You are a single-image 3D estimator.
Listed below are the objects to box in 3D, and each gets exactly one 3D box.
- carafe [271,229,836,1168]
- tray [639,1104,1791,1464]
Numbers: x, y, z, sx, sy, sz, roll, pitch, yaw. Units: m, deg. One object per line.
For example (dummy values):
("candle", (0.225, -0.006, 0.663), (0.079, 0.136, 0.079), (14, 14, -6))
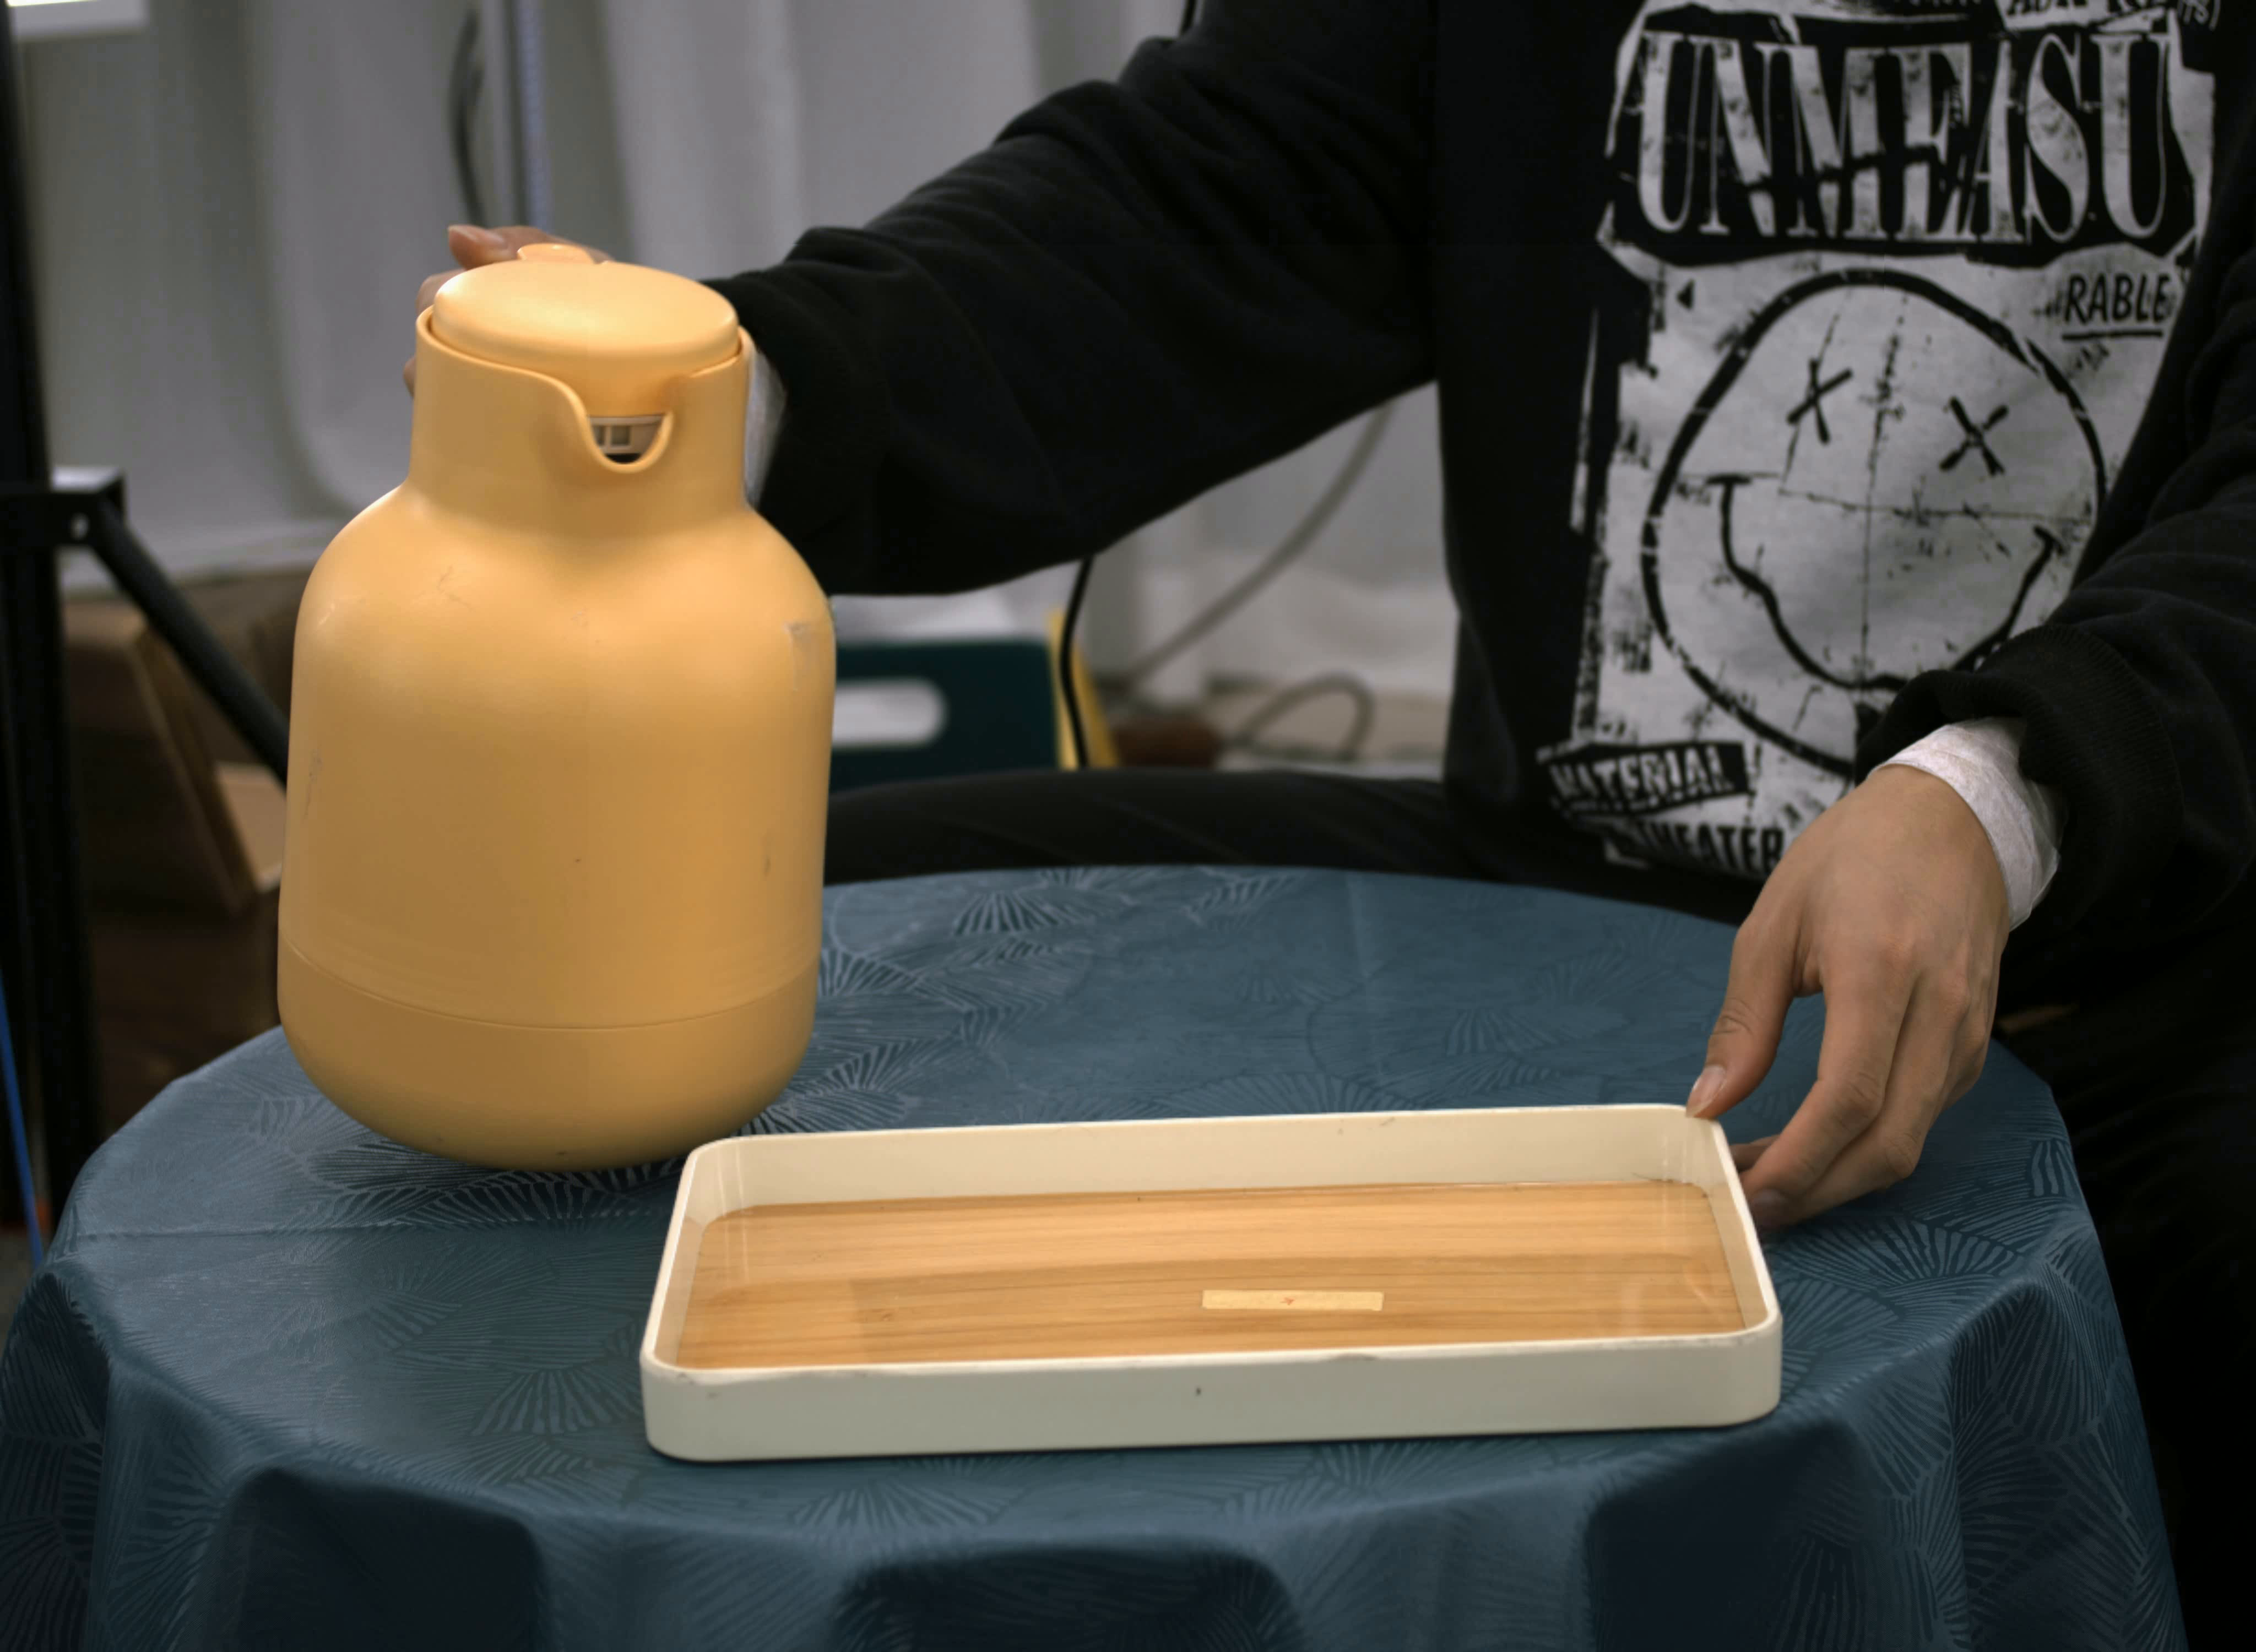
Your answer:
("carafe", (-0.170, -0.046, 1.604), (0.161, 0.260, 0.205), (3, 22, -14))
("tray", (0.023, 0.123, 1.448), (0.299, 0.027, 0.192), (-2, 16, 3))
